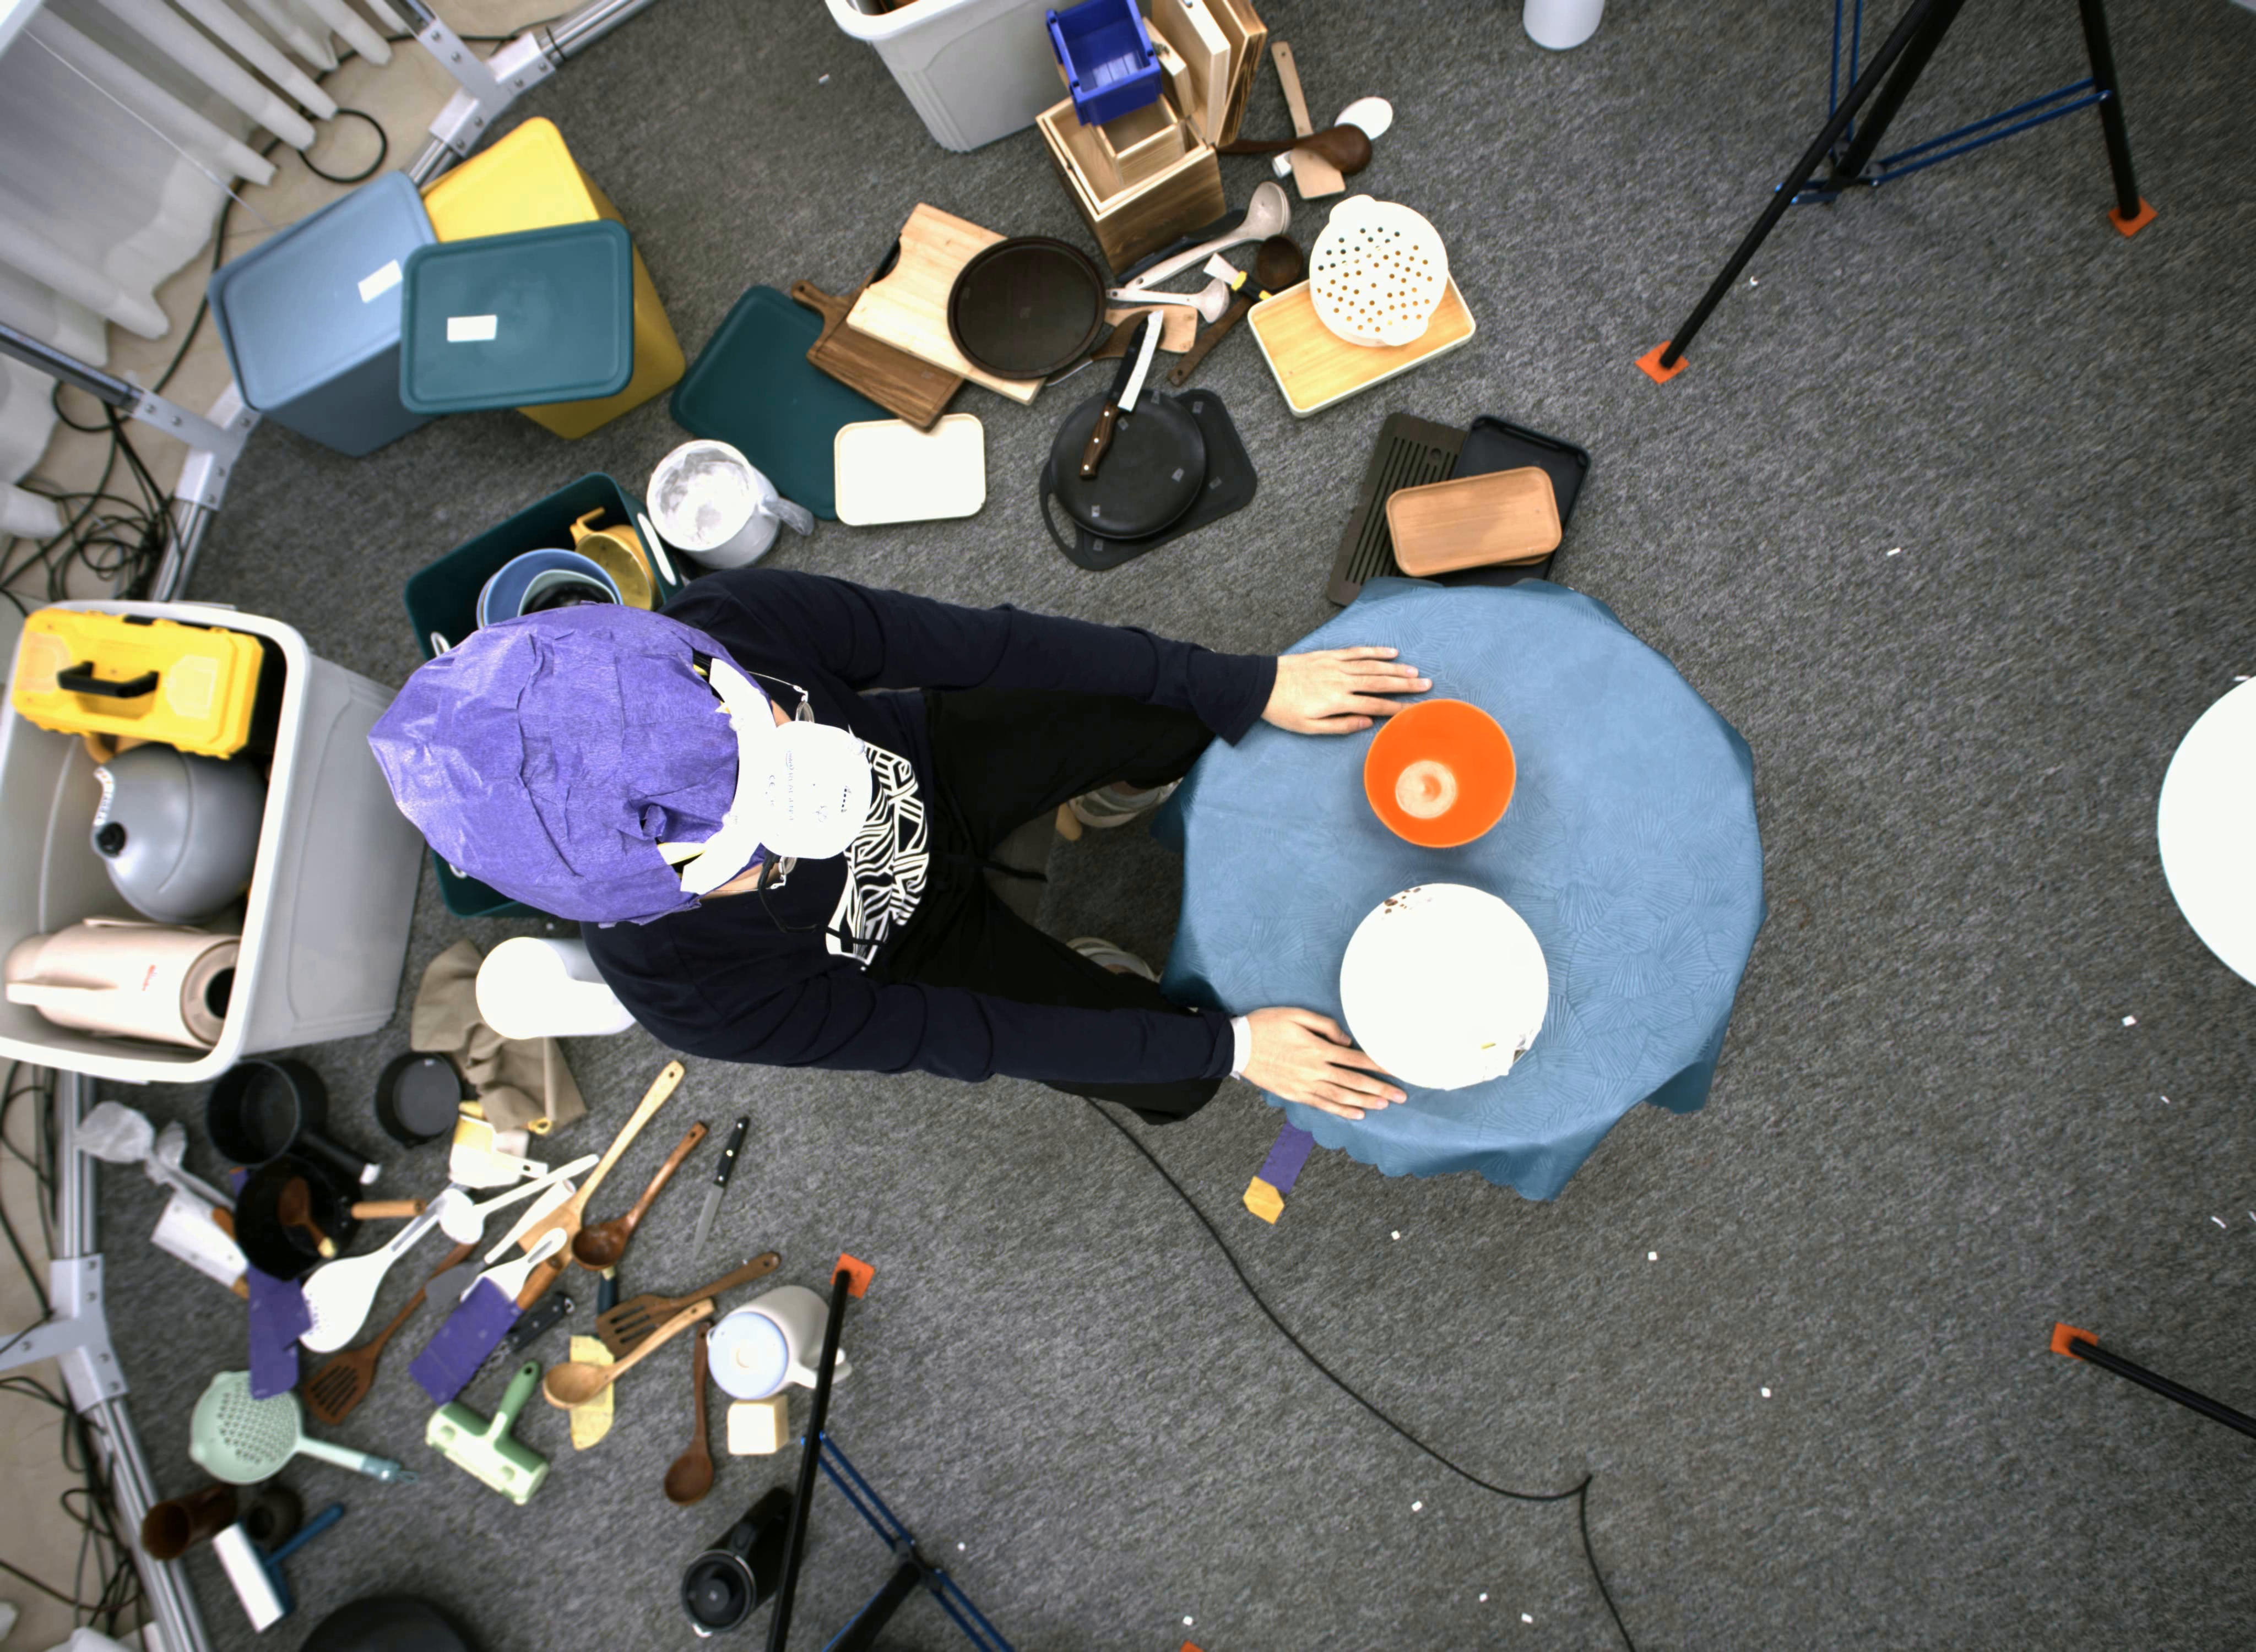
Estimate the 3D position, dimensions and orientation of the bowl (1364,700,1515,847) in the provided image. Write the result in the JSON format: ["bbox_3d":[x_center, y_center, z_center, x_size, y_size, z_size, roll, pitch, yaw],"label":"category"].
[{"bbox_3d":[0.318,-0.050,1.408,0.148,0.104,0.147,-1,86,12],"label":"bowl"}]

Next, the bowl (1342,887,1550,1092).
[{"bbox_3d":[0.320,0.164,1.404,0.205,0.078,0.203,-1,85,9],"label":"bowl"}]
